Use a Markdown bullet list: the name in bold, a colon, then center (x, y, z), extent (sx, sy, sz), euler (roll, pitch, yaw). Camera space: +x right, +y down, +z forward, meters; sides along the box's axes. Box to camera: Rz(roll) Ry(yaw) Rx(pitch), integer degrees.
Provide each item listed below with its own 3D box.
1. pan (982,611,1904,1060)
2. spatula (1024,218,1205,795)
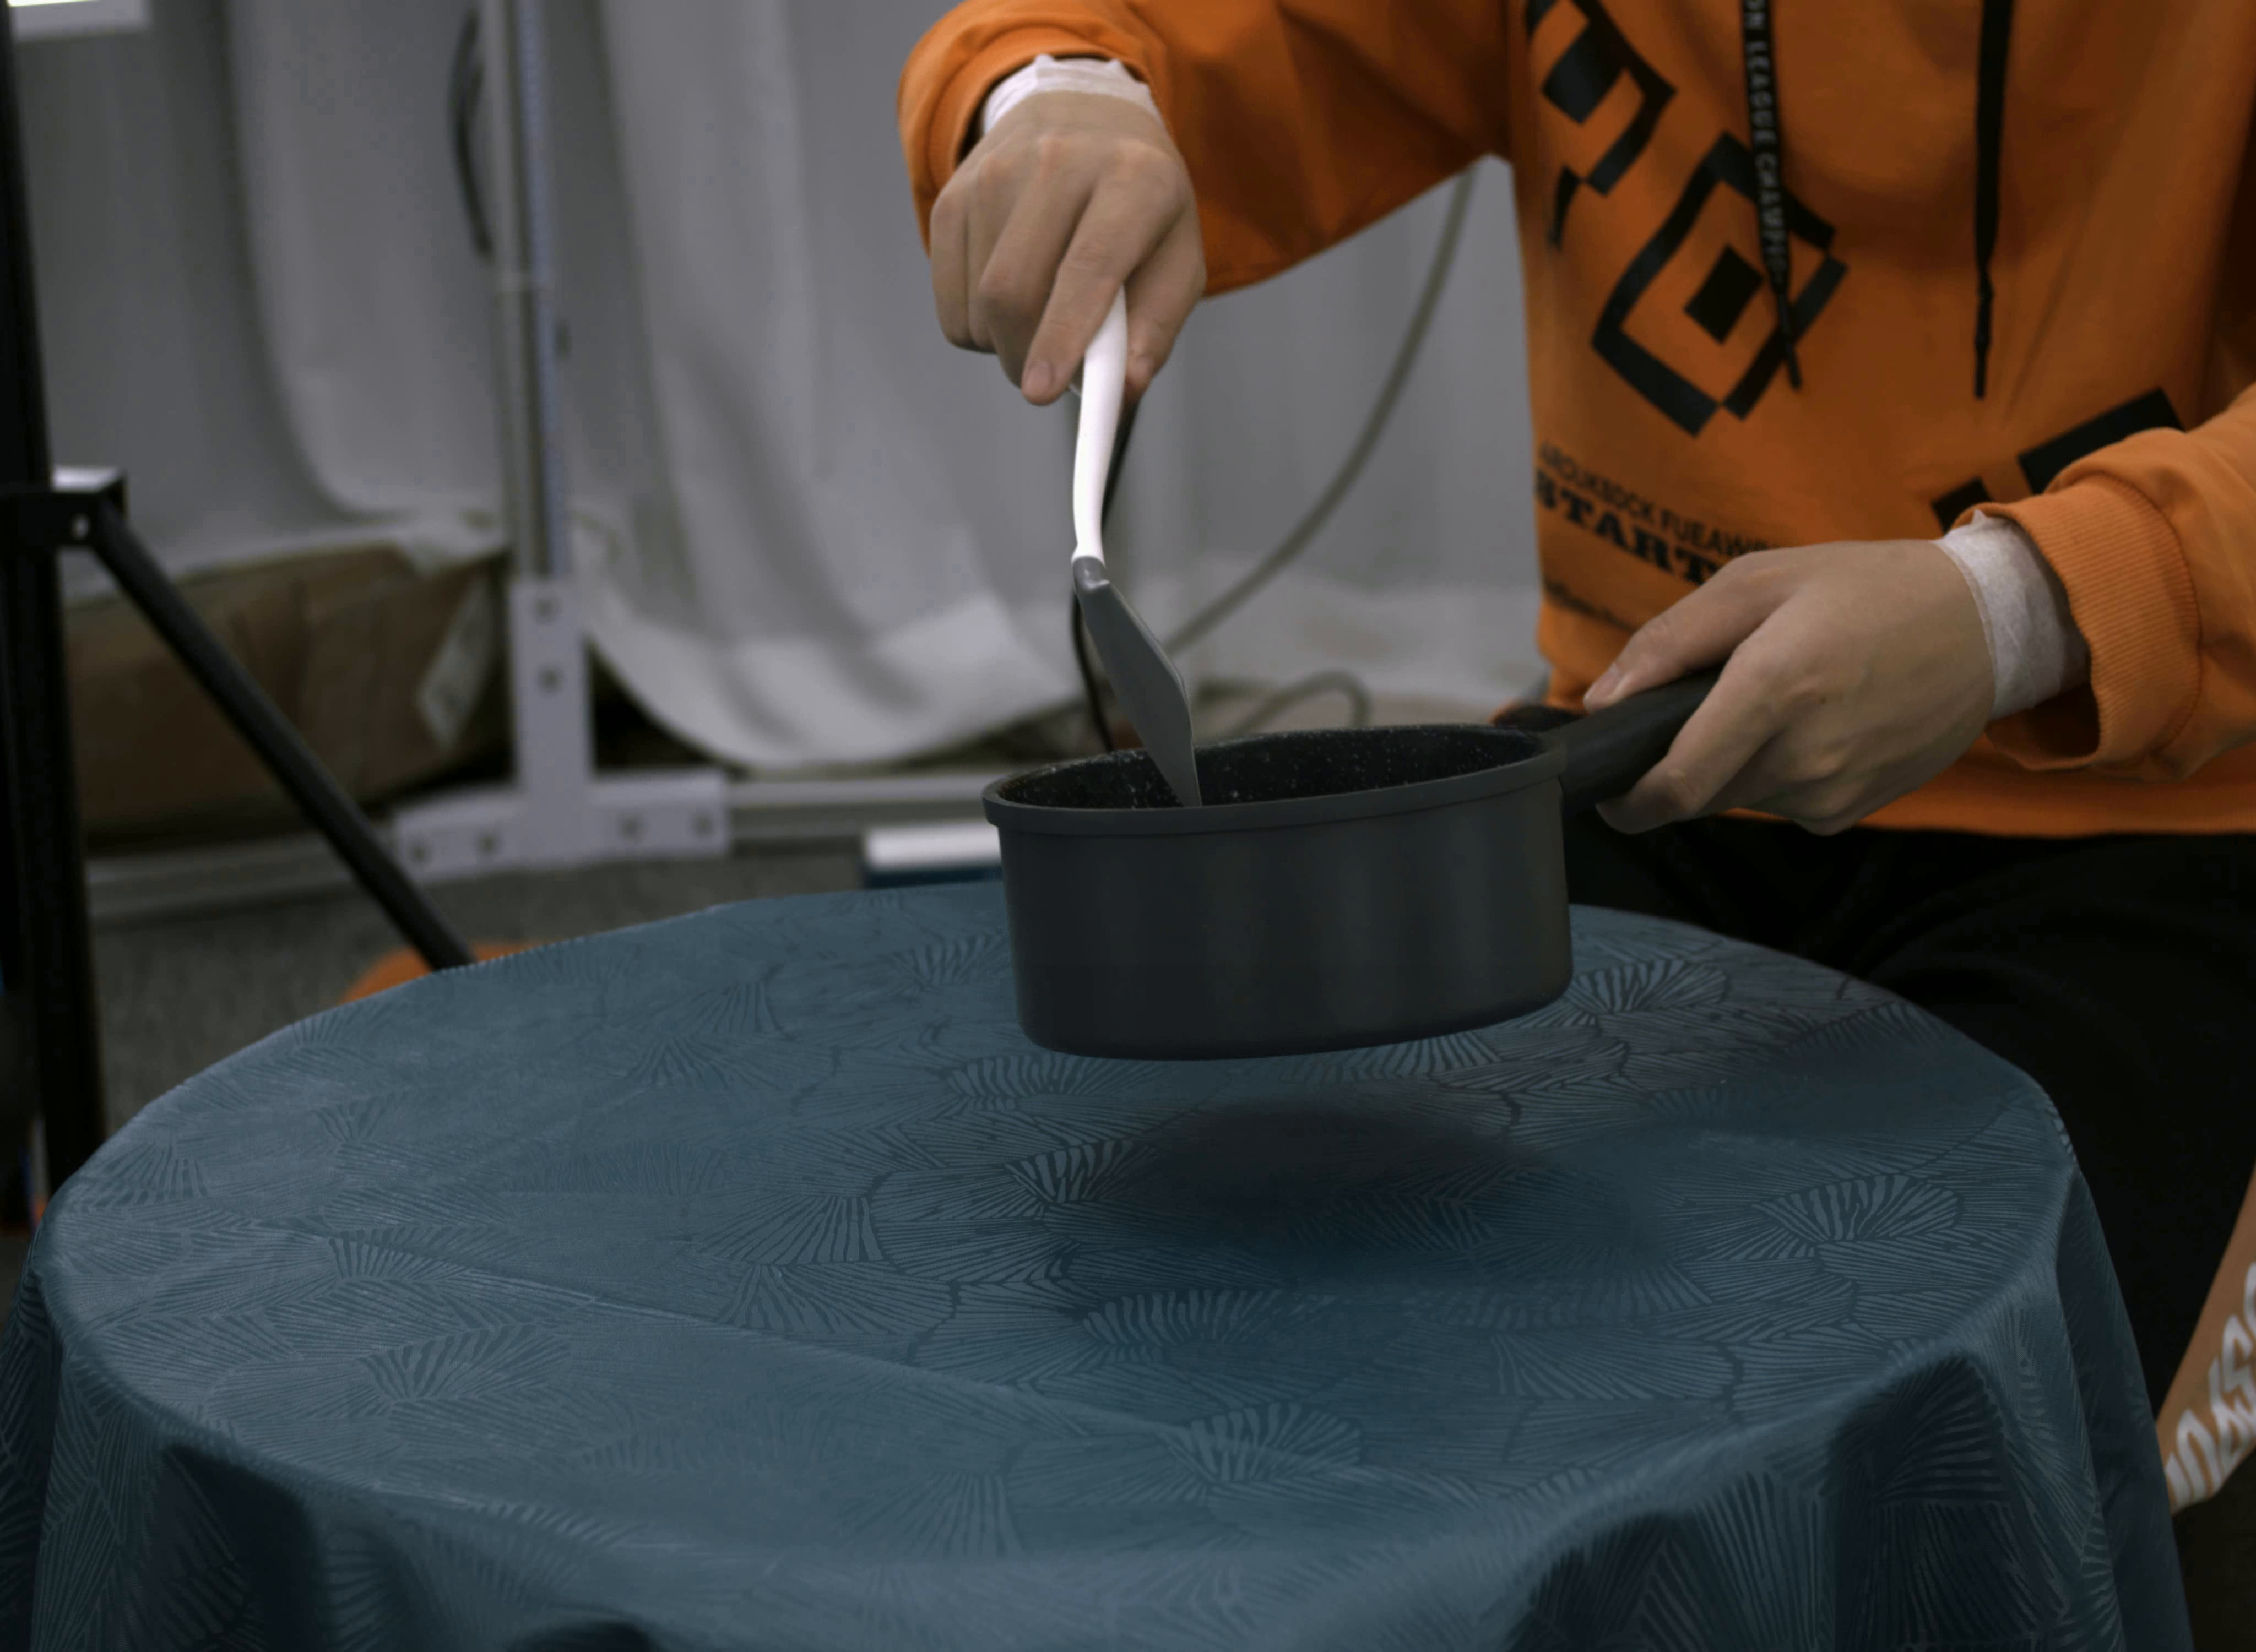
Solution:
- **pan**: center (0.108, 0.003, 1.589), extent (0.321, 0.086, 0.175), euler (-12, 10, -34)
- **spatula**: center (-0.003, -0.098, 1.622), extent (0.032, 0.058, 0.291), euler (-7, 37, -2)
